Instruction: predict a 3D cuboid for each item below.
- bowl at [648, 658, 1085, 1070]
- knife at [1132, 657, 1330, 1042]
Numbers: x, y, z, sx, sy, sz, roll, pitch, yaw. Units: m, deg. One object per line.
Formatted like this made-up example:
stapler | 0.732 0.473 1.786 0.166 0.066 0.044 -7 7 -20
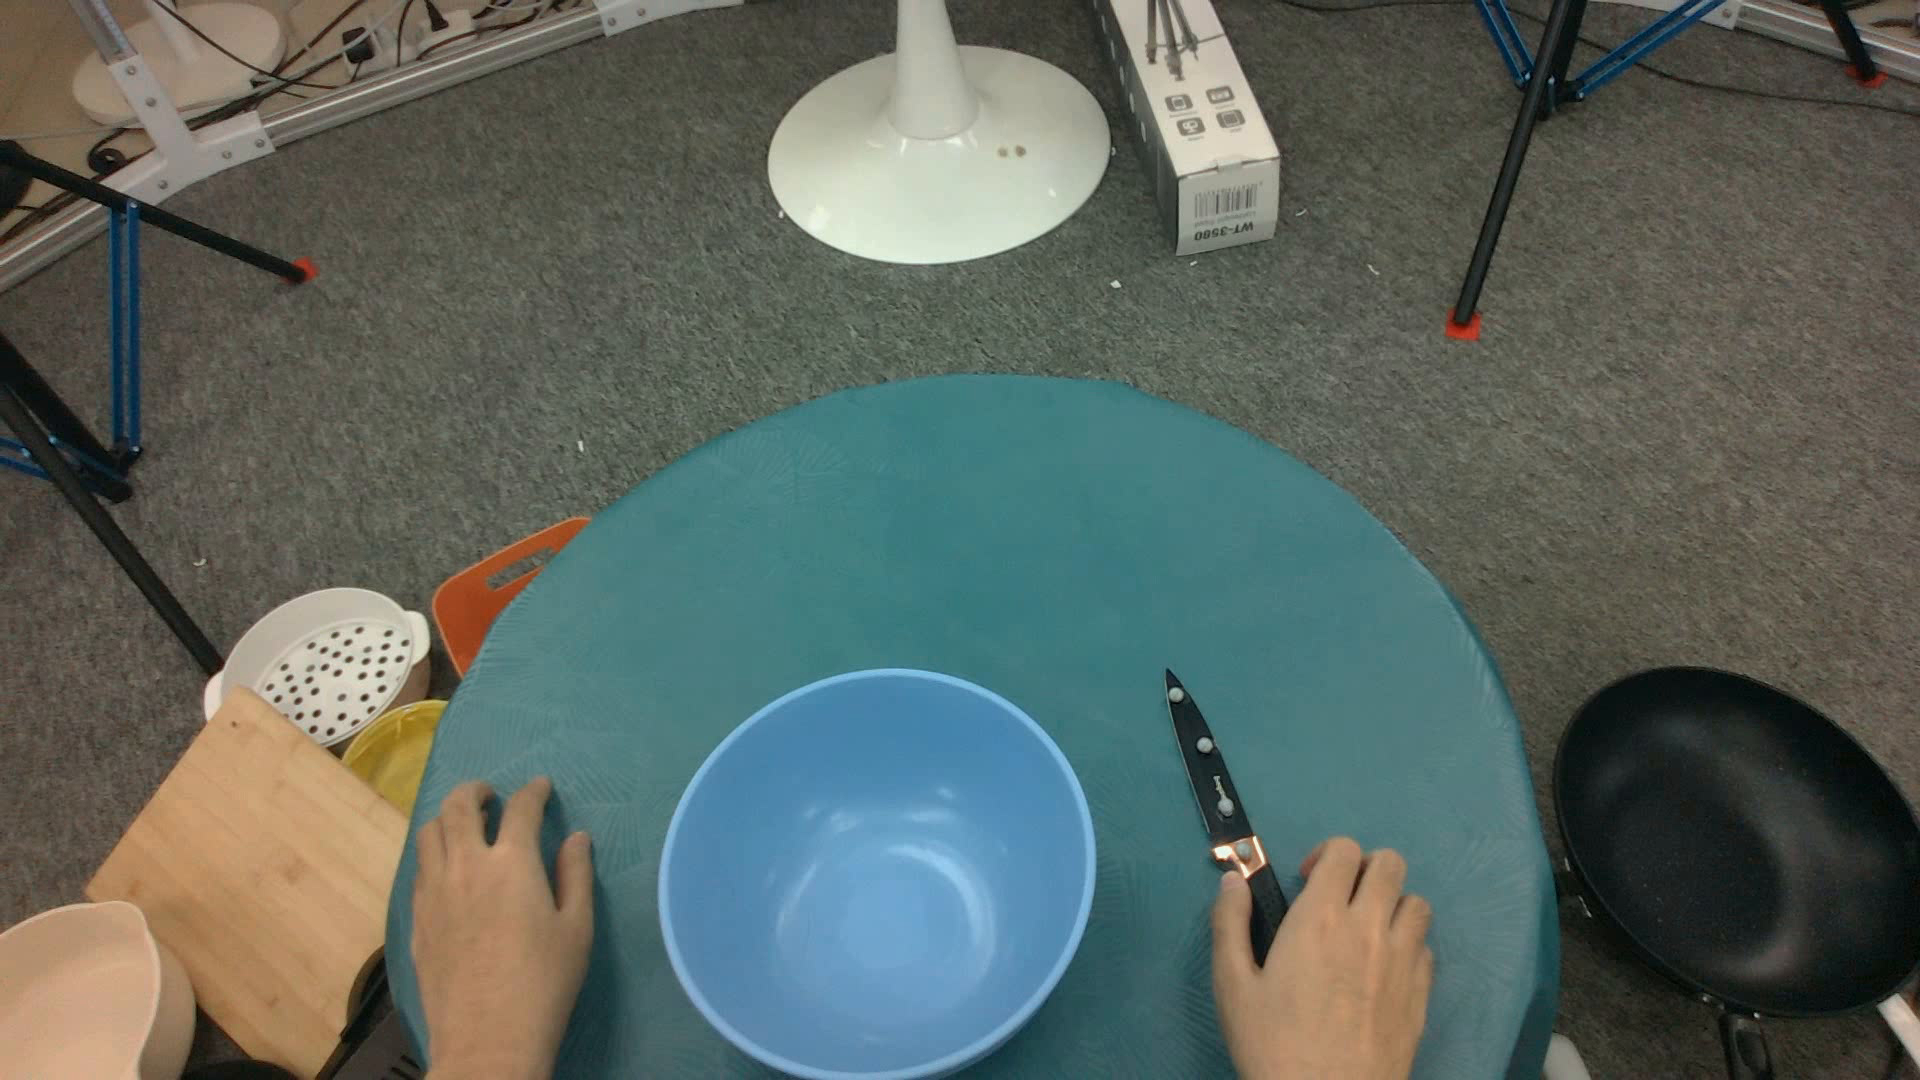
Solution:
bowl | -0.039 0.162 0.650 0.196 0.095 0.197 -3 49 3
knife | 0.134 0.148 0.704 0.026 0.017 0.226 -18 52 -2
